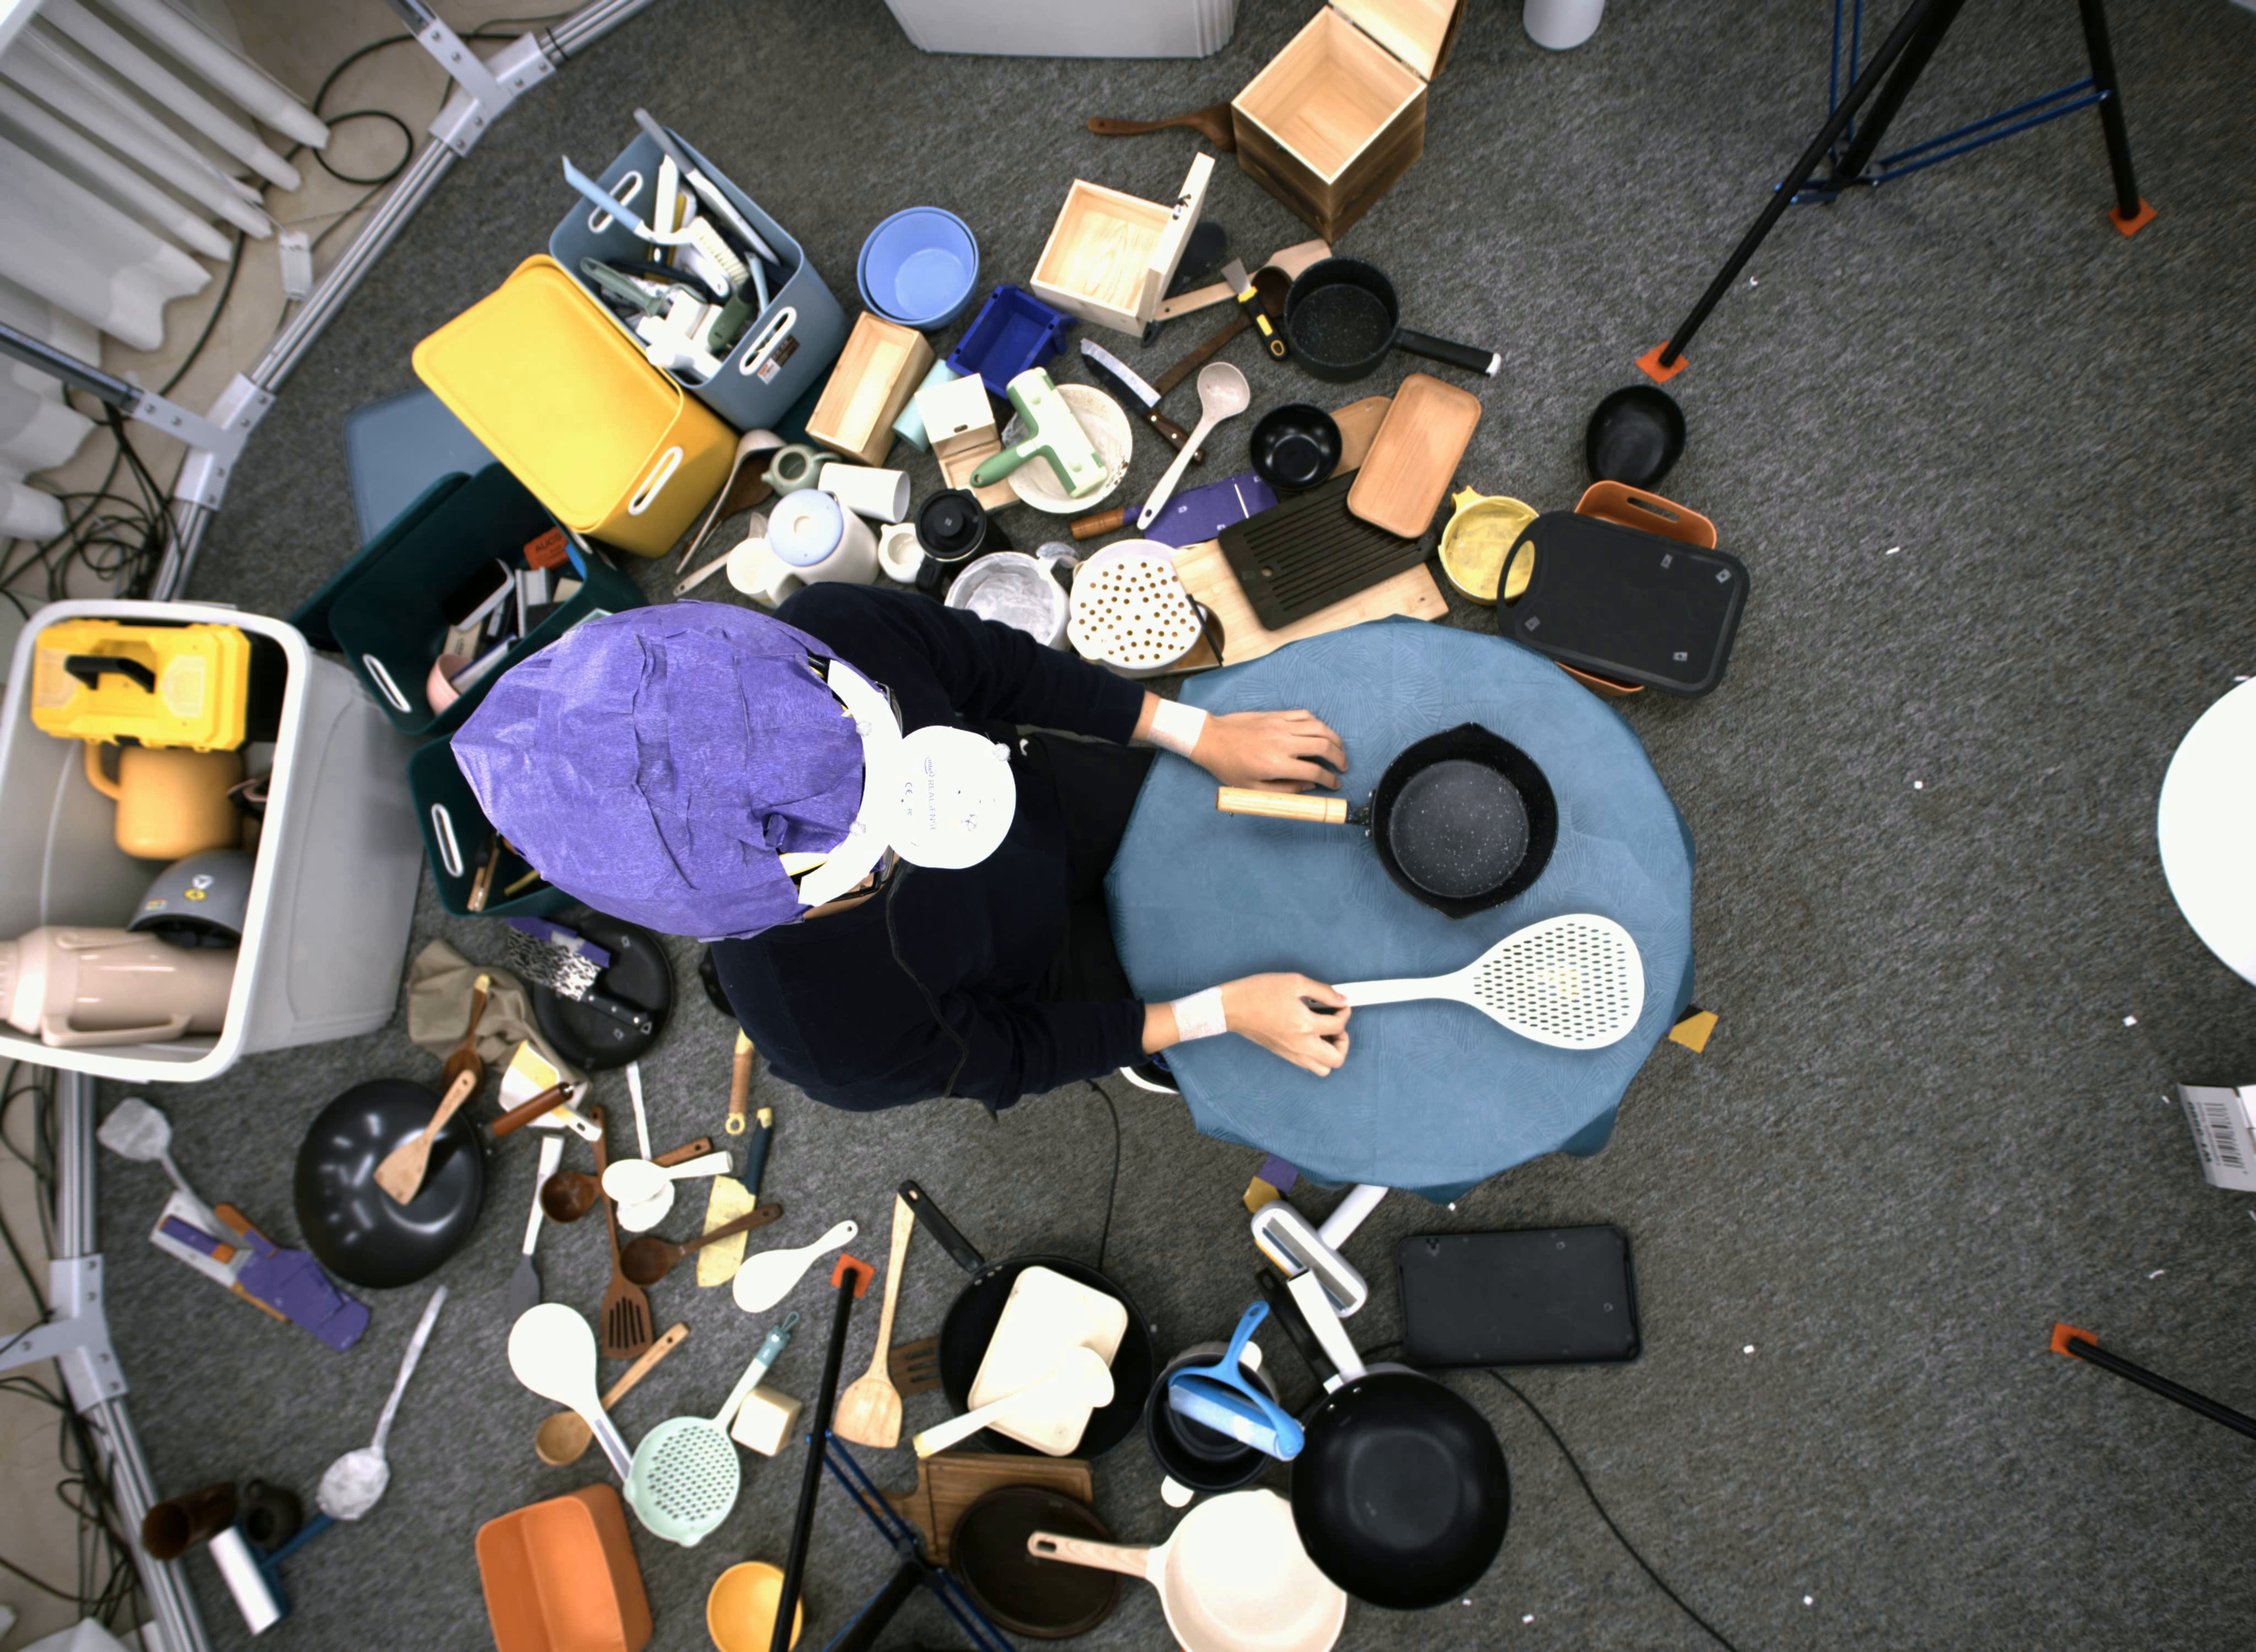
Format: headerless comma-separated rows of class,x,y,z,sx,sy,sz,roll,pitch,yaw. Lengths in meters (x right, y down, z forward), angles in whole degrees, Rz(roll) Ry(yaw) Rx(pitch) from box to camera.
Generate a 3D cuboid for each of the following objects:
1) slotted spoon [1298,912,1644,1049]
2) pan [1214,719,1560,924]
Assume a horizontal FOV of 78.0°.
slotted spoon,0.347,0.165,1.418,0.349,0.050,0.136,-6,84,9
pan,0.261,-0.009,1.411,0.344,0.108,0.207,4,88,9
